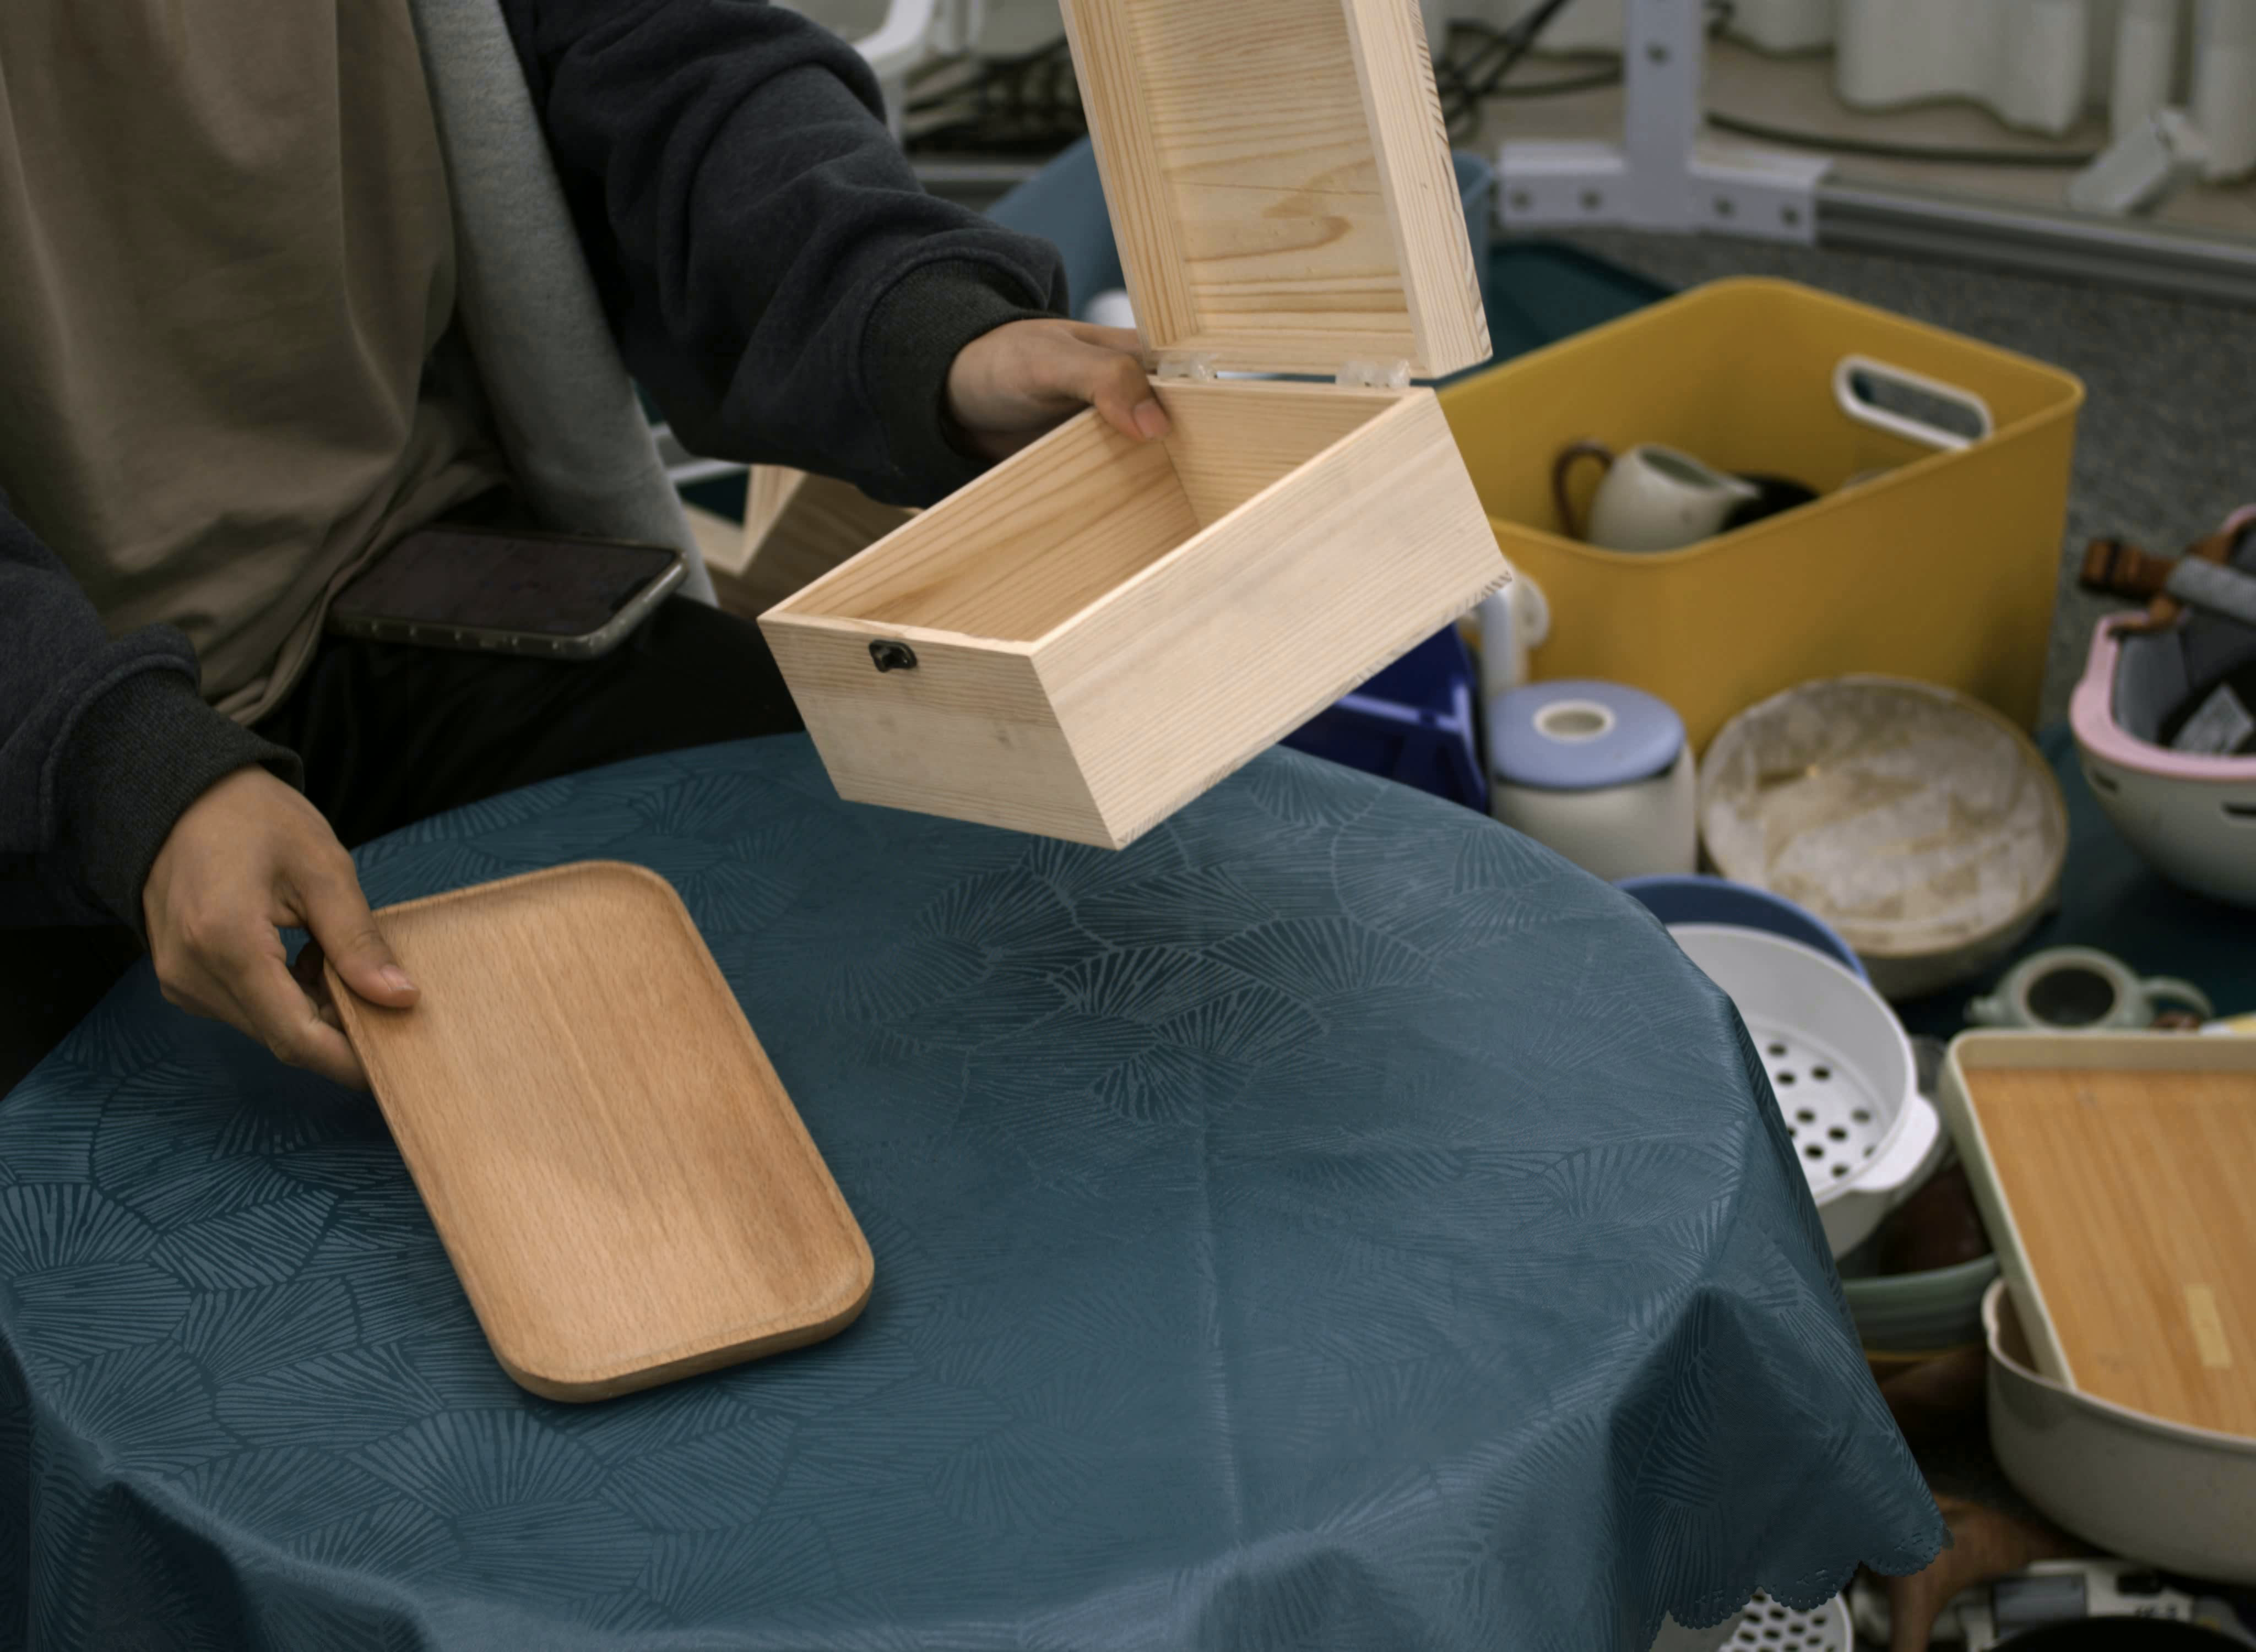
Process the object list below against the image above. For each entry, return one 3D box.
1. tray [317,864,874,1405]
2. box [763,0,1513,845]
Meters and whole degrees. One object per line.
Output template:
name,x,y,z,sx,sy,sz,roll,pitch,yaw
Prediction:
tray,-0.179,0.099,1.858,0.131,0.022,0.253,-10,38,-20
box,-0.005,-0.168,1.920,0.268,0.252,0.180,-33,18,-28
